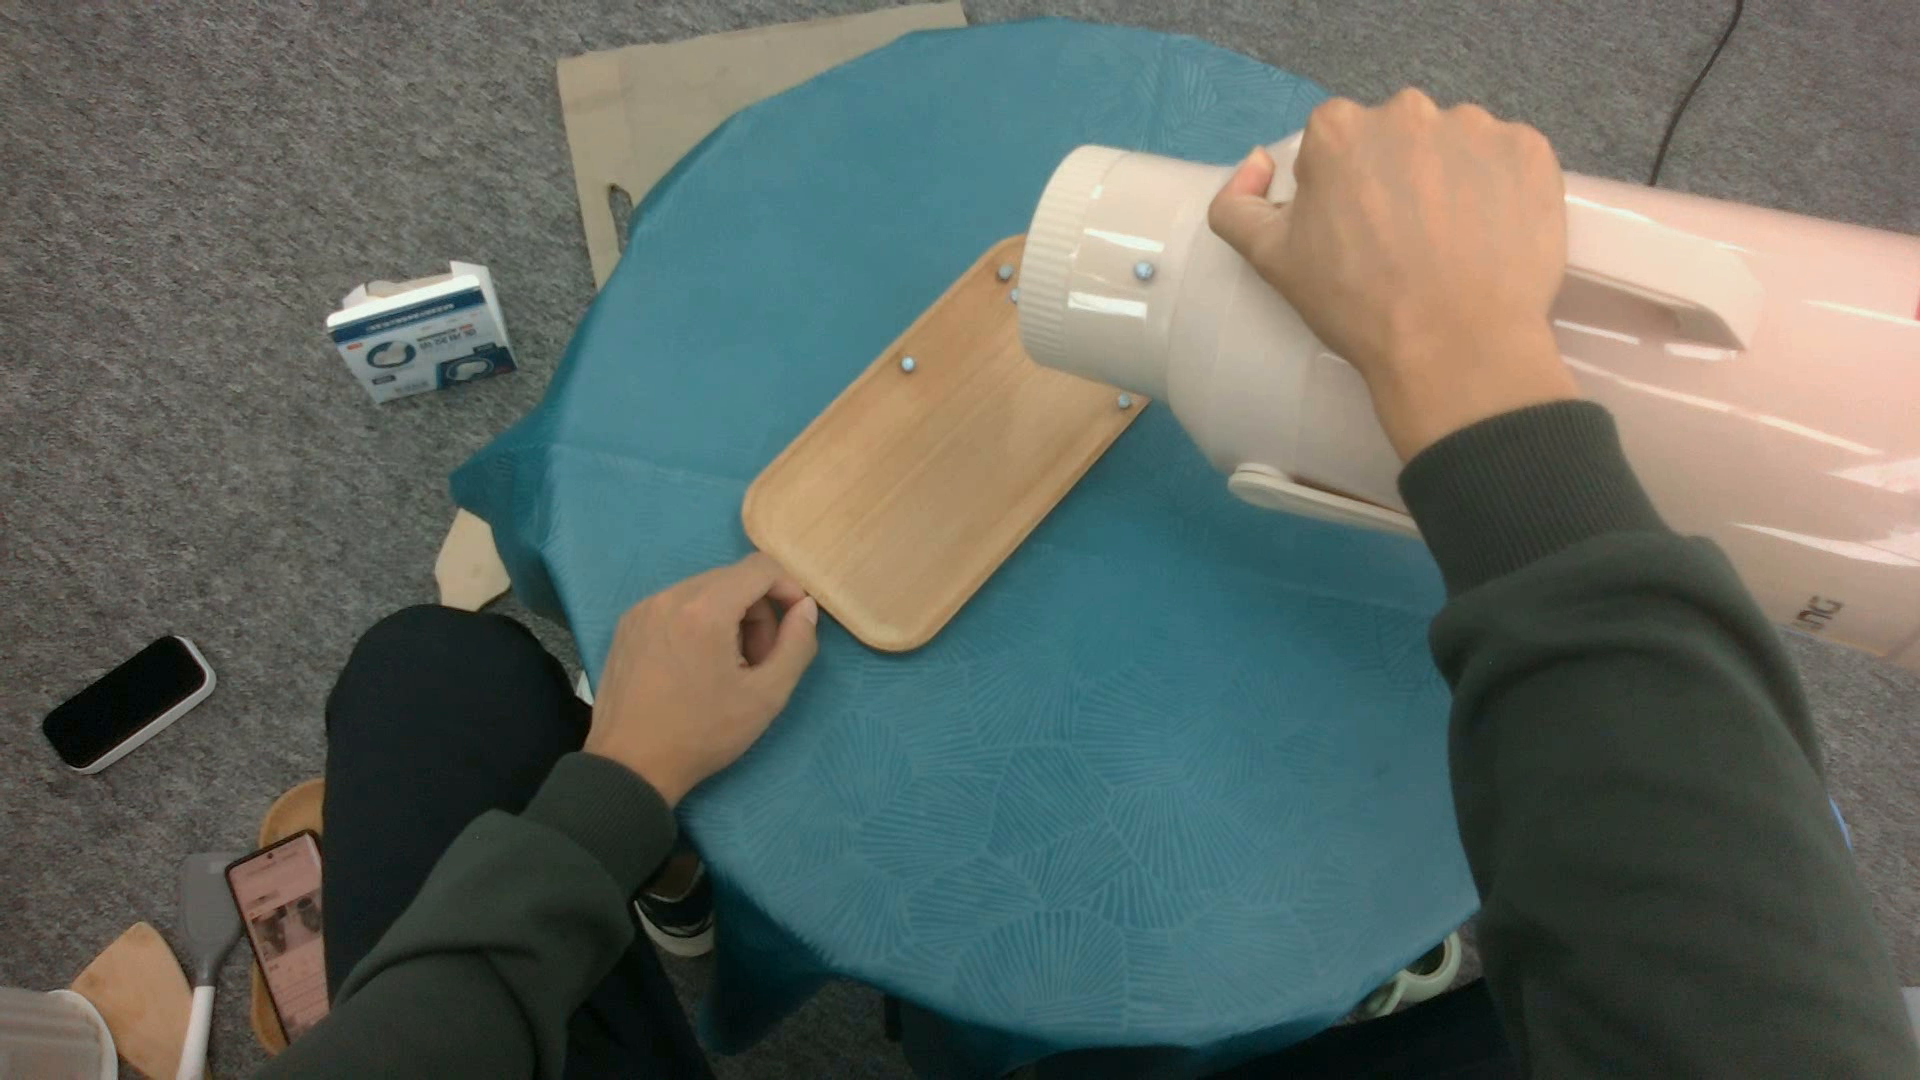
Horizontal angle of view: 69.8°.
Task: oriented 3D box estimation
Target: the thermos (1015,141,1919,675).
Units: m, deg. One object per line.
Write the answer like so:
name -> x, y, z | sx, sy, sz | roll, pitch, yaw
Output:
thermos -> 0.222, -0.079, 0.583 | 0.406, 0.207, 0.175 | 18, 79, 22

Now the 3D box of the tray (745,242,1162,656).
tray -> 0.002, -0.055, 0.768 | 0.130, 0.023, 0.251 | 41, 73, 10
